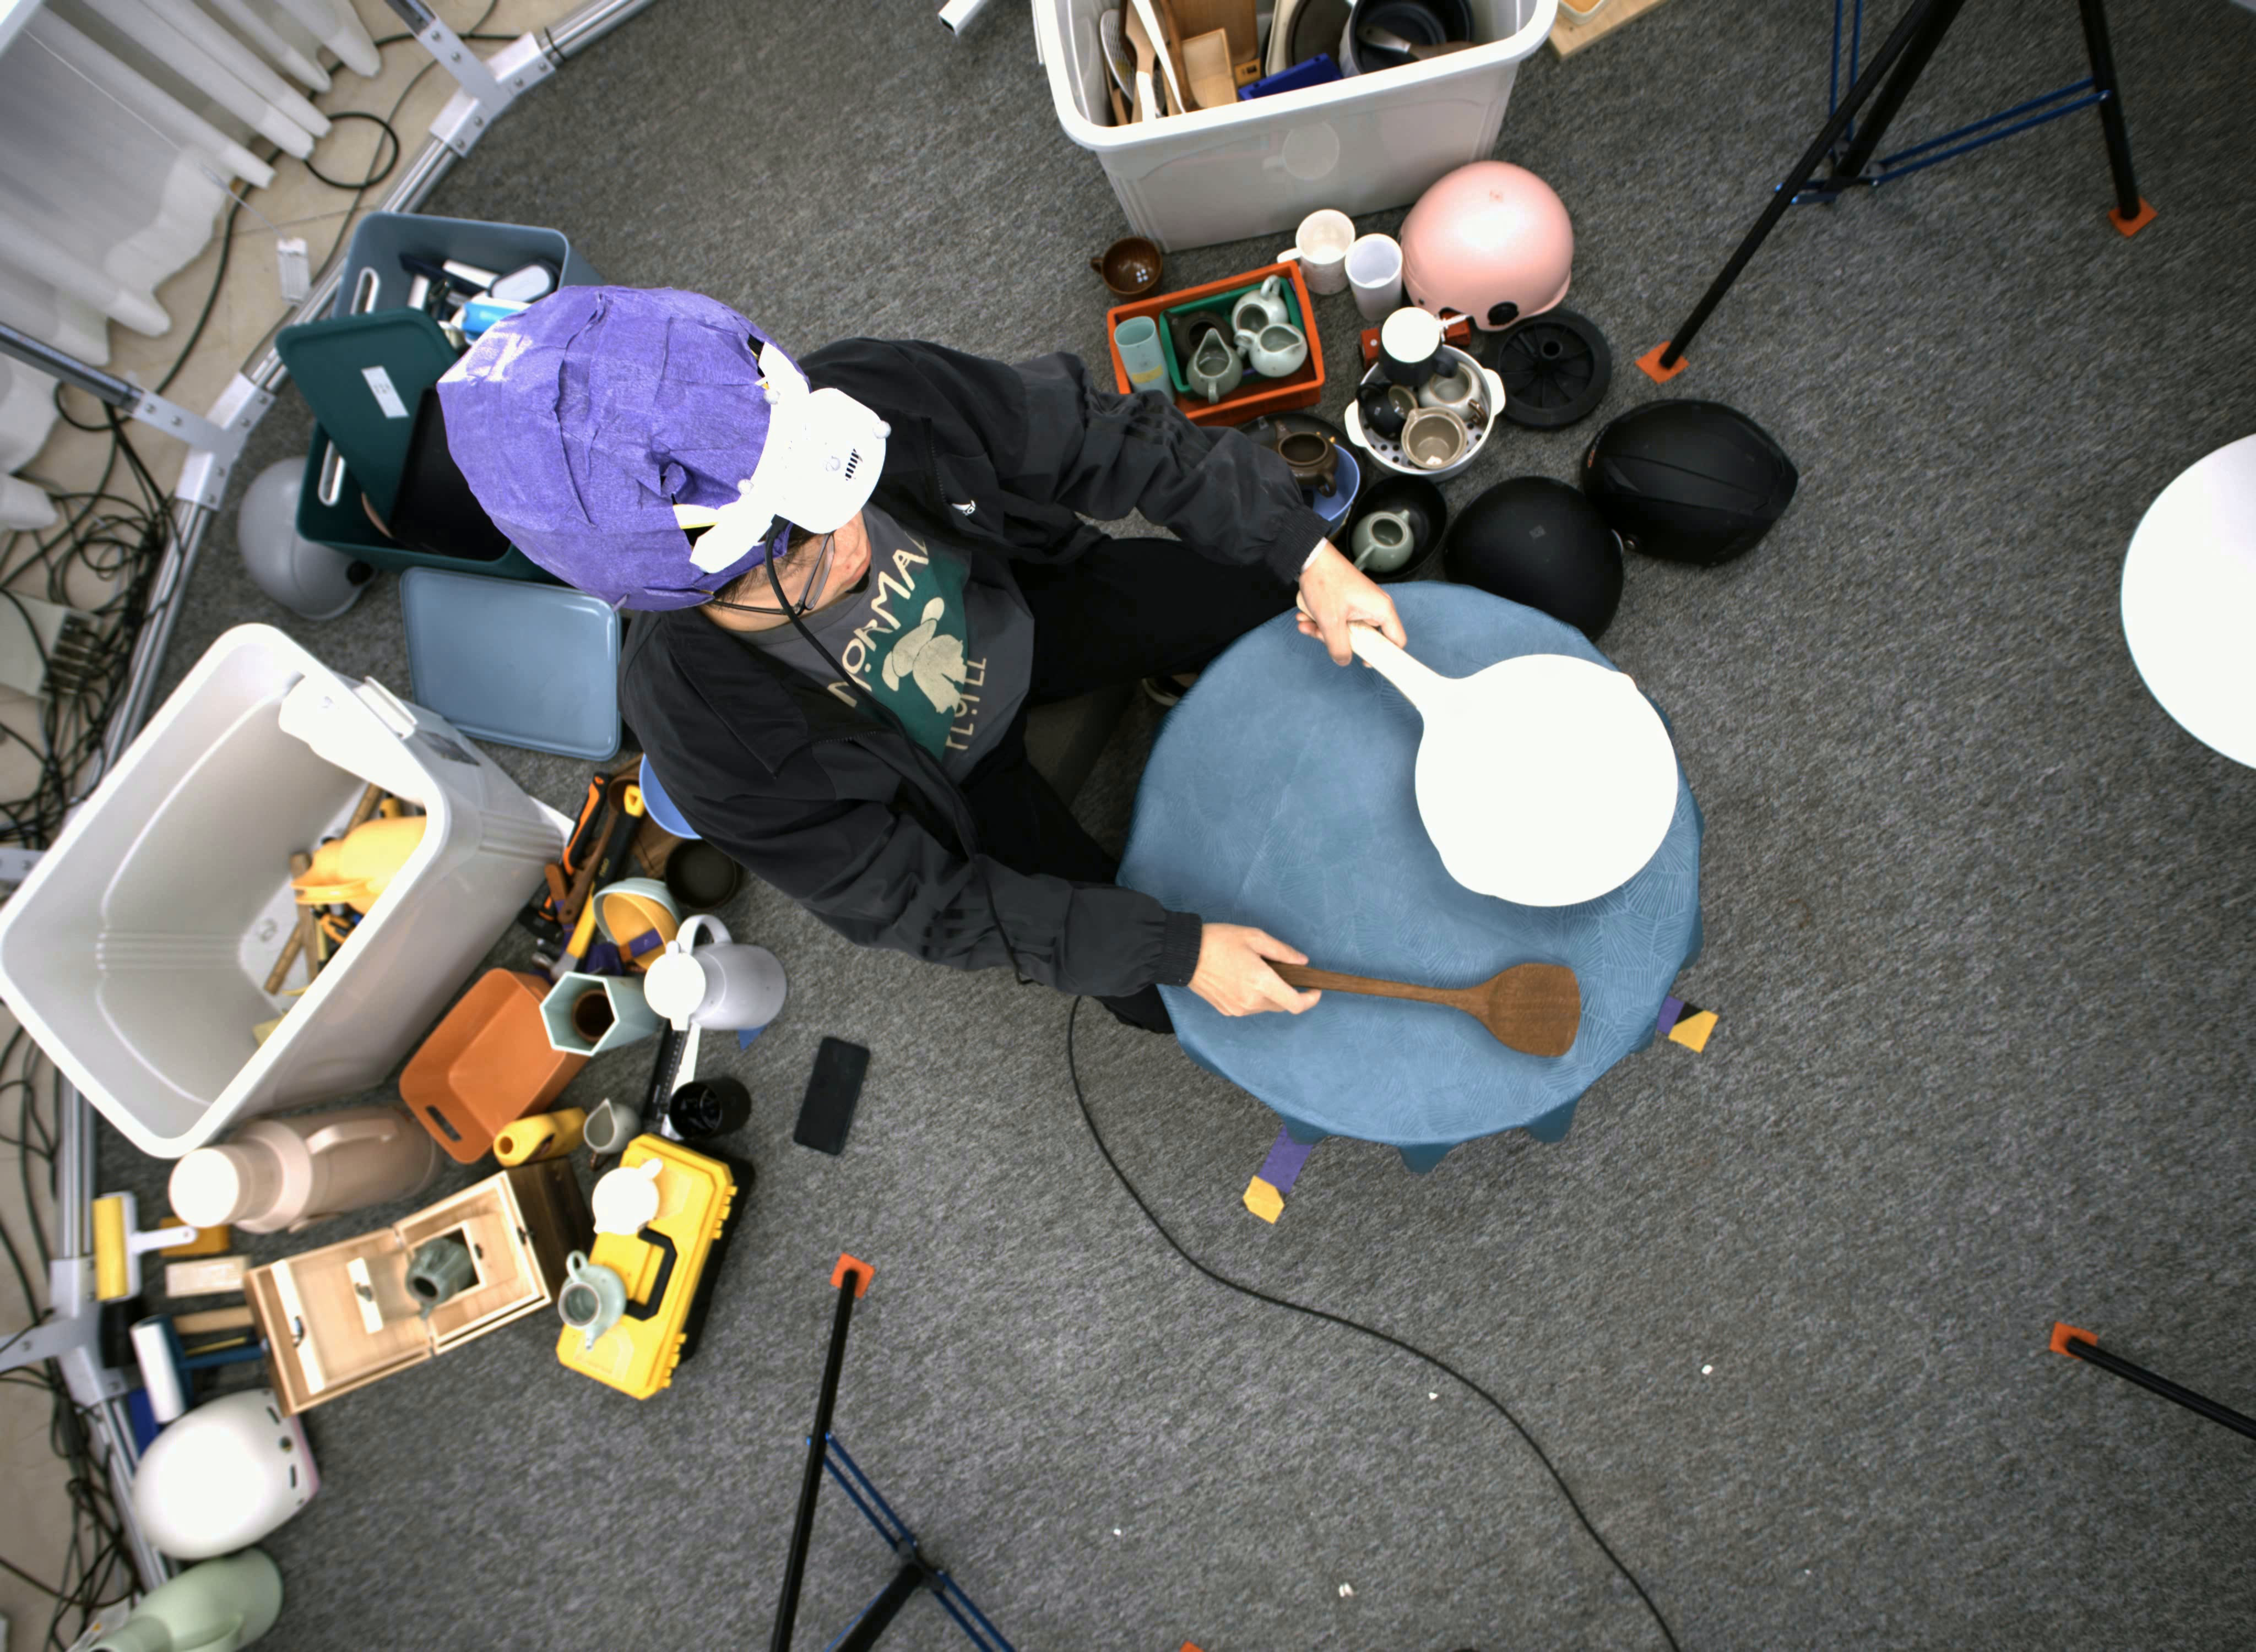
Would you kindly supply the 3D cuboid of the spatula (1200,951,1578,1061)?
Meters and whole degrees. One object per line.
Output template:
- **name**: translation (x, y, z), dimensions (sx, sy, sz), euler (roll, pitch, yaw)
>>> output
- **spatula**: translation (0.265, 0.167, 1.417), dimensions (0.387, 0.016, 0.095), euler (7, 79, 8)

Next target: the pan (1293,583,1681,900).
- **pan**: translation (0.348, -0.107, 1.394), dimensions (0.433, 0.102, 0.264), euler (39, 95, 12)
